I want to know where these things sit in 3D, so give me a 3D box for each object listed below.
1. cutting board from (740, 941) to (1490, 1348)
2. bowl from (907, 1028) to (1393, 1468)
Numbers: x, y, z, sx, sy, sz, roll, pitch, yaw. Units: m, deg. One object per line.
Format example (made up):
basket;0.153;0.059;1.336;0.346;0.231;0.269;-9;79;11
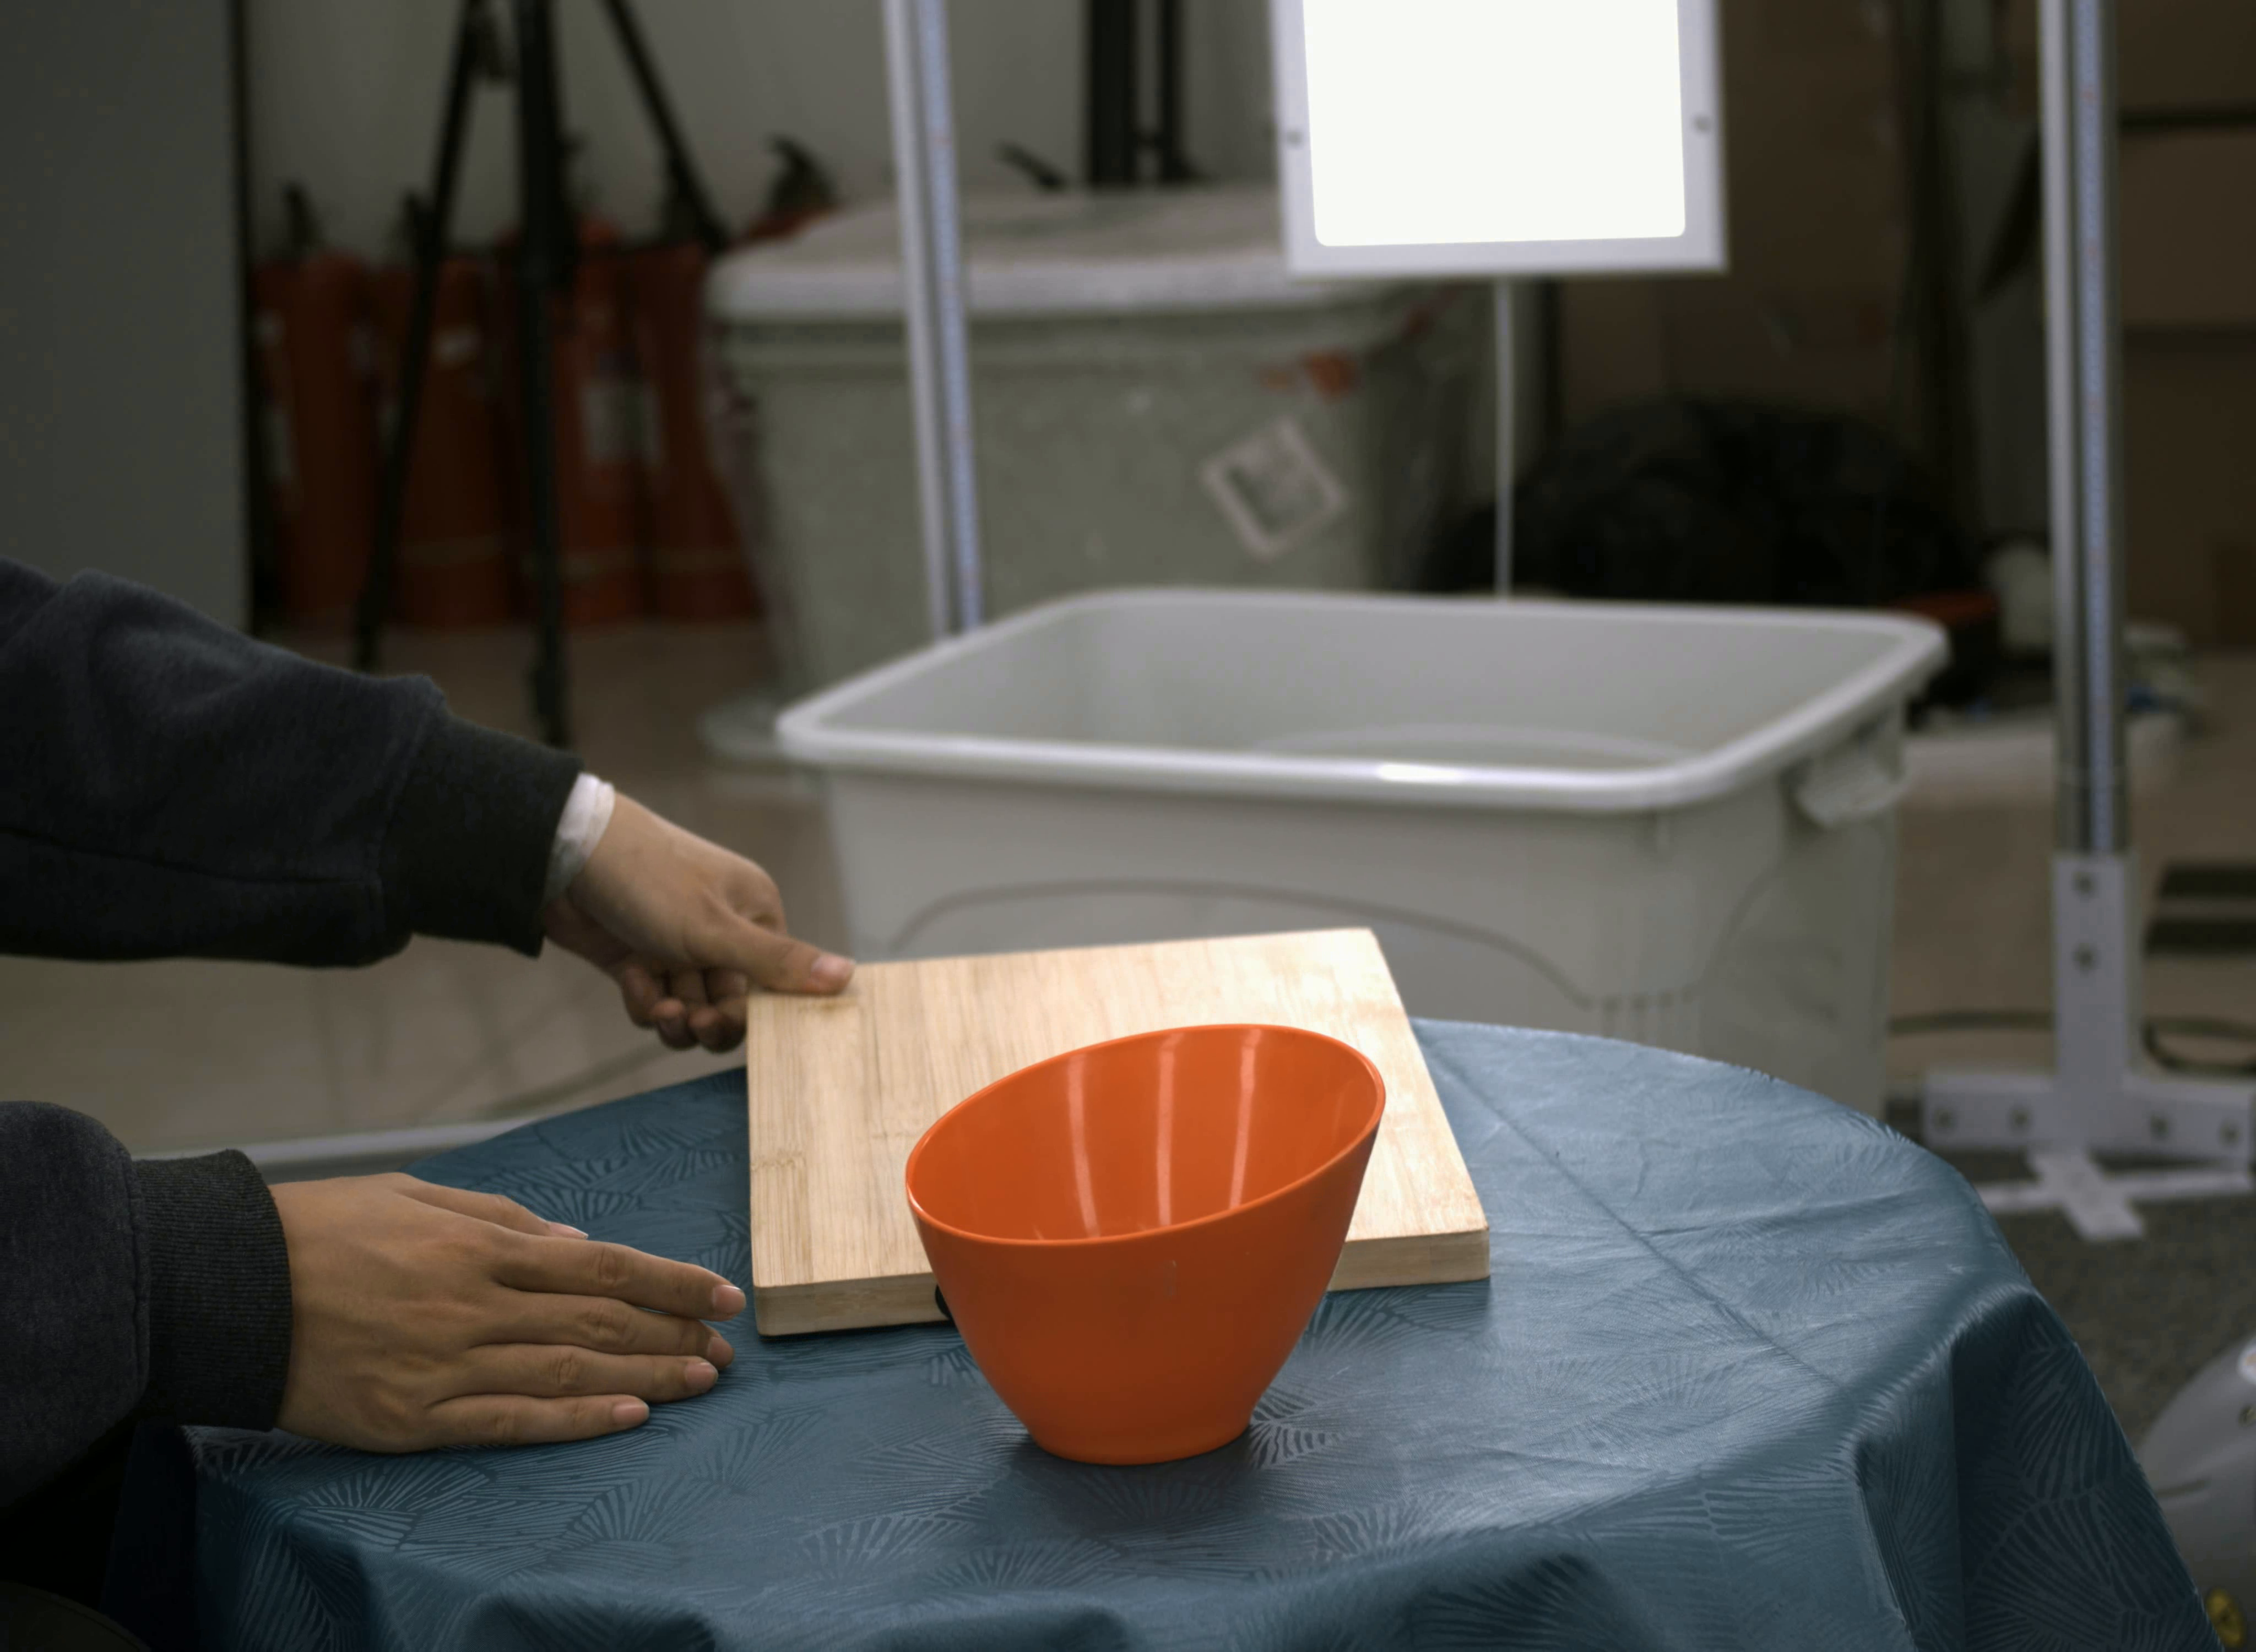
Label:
cutting board;-0.014;0.105;1.928;0.249;0.023;0.349;-6;15;-2
bowl;0.009;0.131;1.662;0.147;0.105;0.148;-4;15;0
